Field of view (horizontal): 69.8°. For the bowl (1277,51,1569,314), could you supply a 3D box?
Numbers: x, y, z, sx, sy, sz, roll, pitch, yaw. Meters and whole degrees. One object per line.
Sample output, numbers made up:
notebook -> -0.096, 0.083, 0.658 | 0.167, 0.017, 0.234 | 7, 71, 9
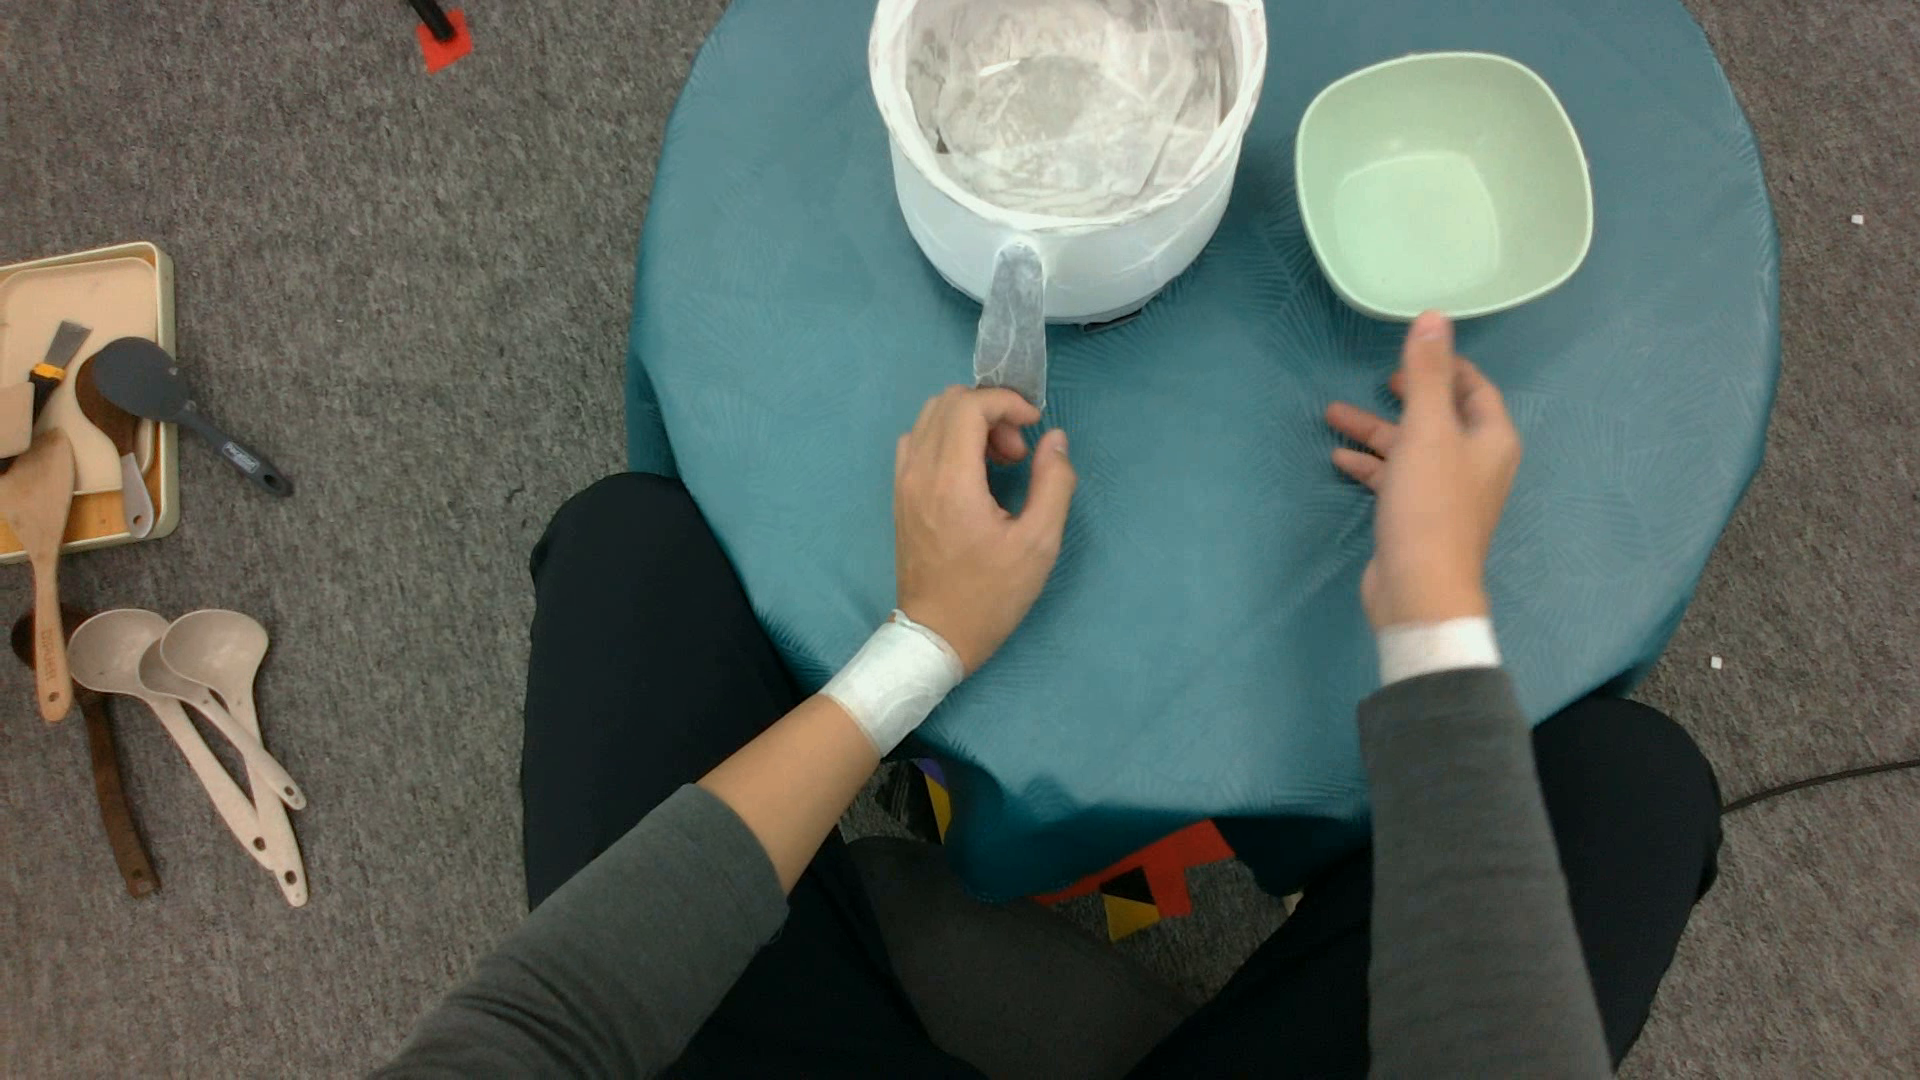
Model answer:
bowl -> 0.229, -0.173, 0.705 | 0.151, 0.058, 0.152 | -1, 76, 2

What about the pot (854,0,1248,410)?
pot -> 0.038, -0.185, 0.676 | 0.178, 0.136, 0.234 | 11, 79, 5
